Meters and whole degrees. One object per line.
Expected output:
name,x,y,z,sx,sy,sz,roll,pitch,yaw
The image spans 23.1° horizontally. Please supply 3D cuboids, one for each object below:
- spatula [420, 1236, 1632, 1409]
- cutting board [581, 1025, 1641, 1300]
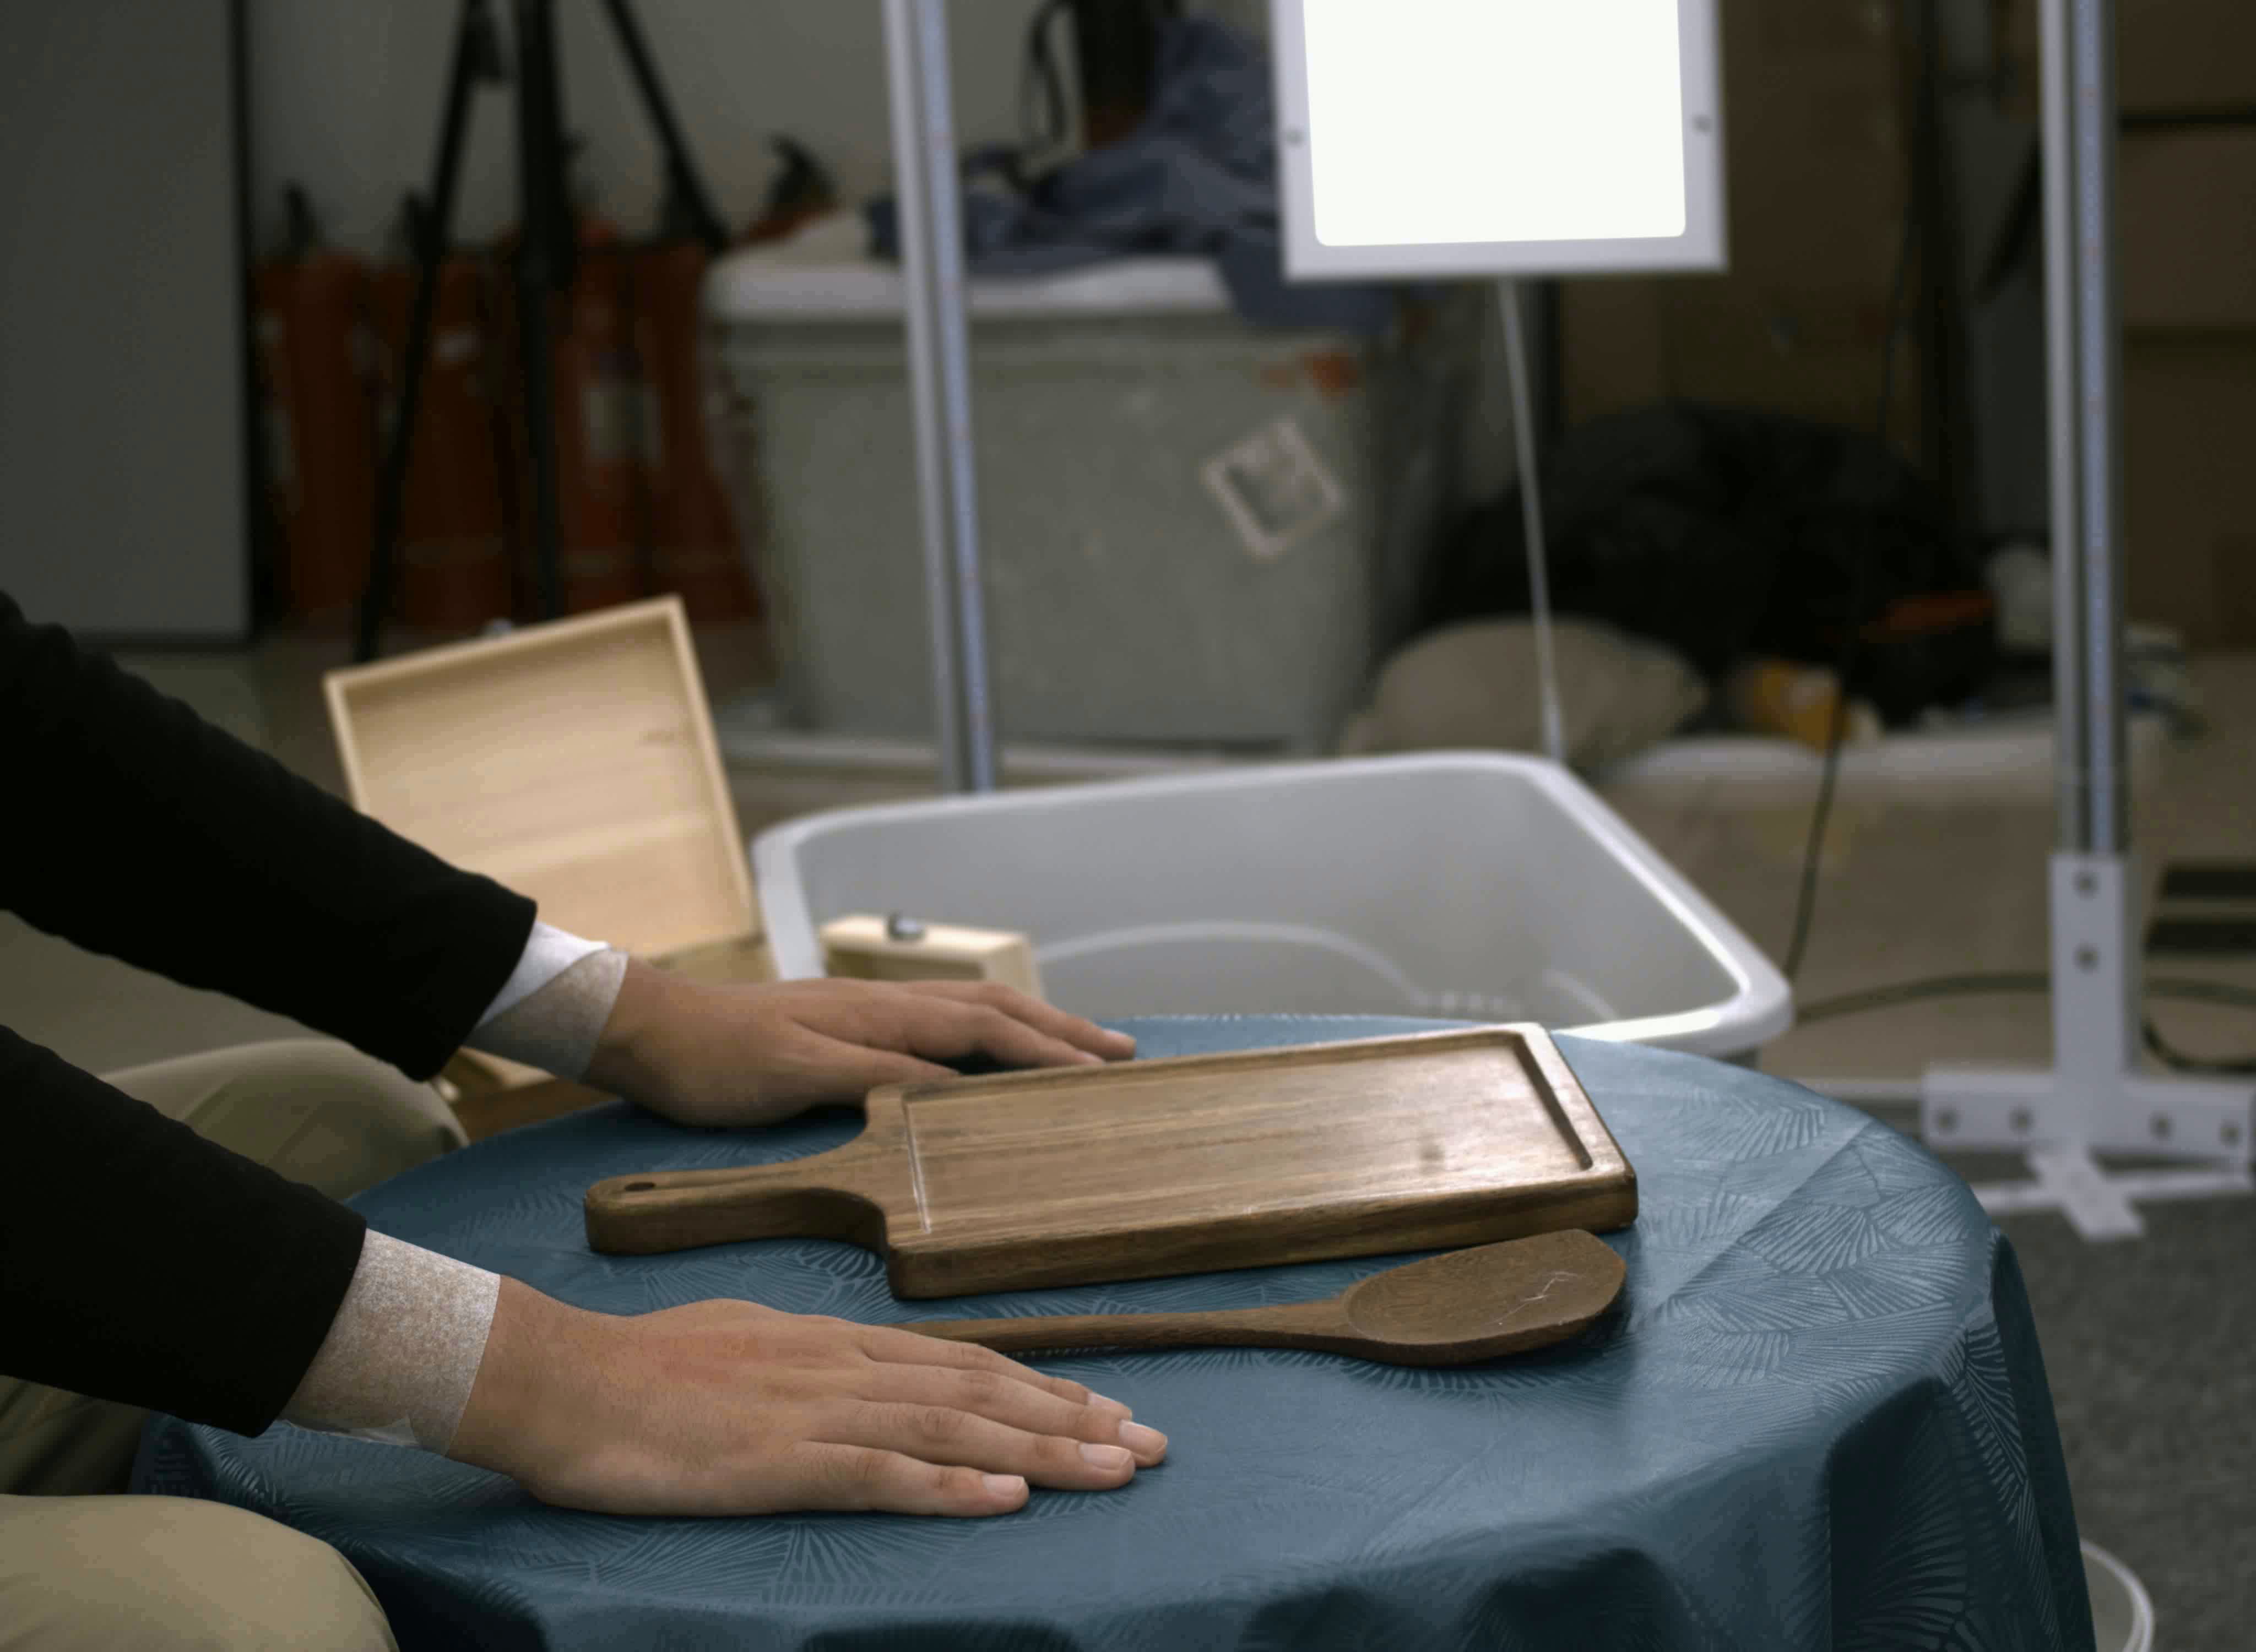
spatula,-0.033,0.161,1.740,0.386,0.016,0.095,-4,13,4
cutting board,-0.013,0.118,1.896,0.350,0.023,0.201,-6,13,-2
